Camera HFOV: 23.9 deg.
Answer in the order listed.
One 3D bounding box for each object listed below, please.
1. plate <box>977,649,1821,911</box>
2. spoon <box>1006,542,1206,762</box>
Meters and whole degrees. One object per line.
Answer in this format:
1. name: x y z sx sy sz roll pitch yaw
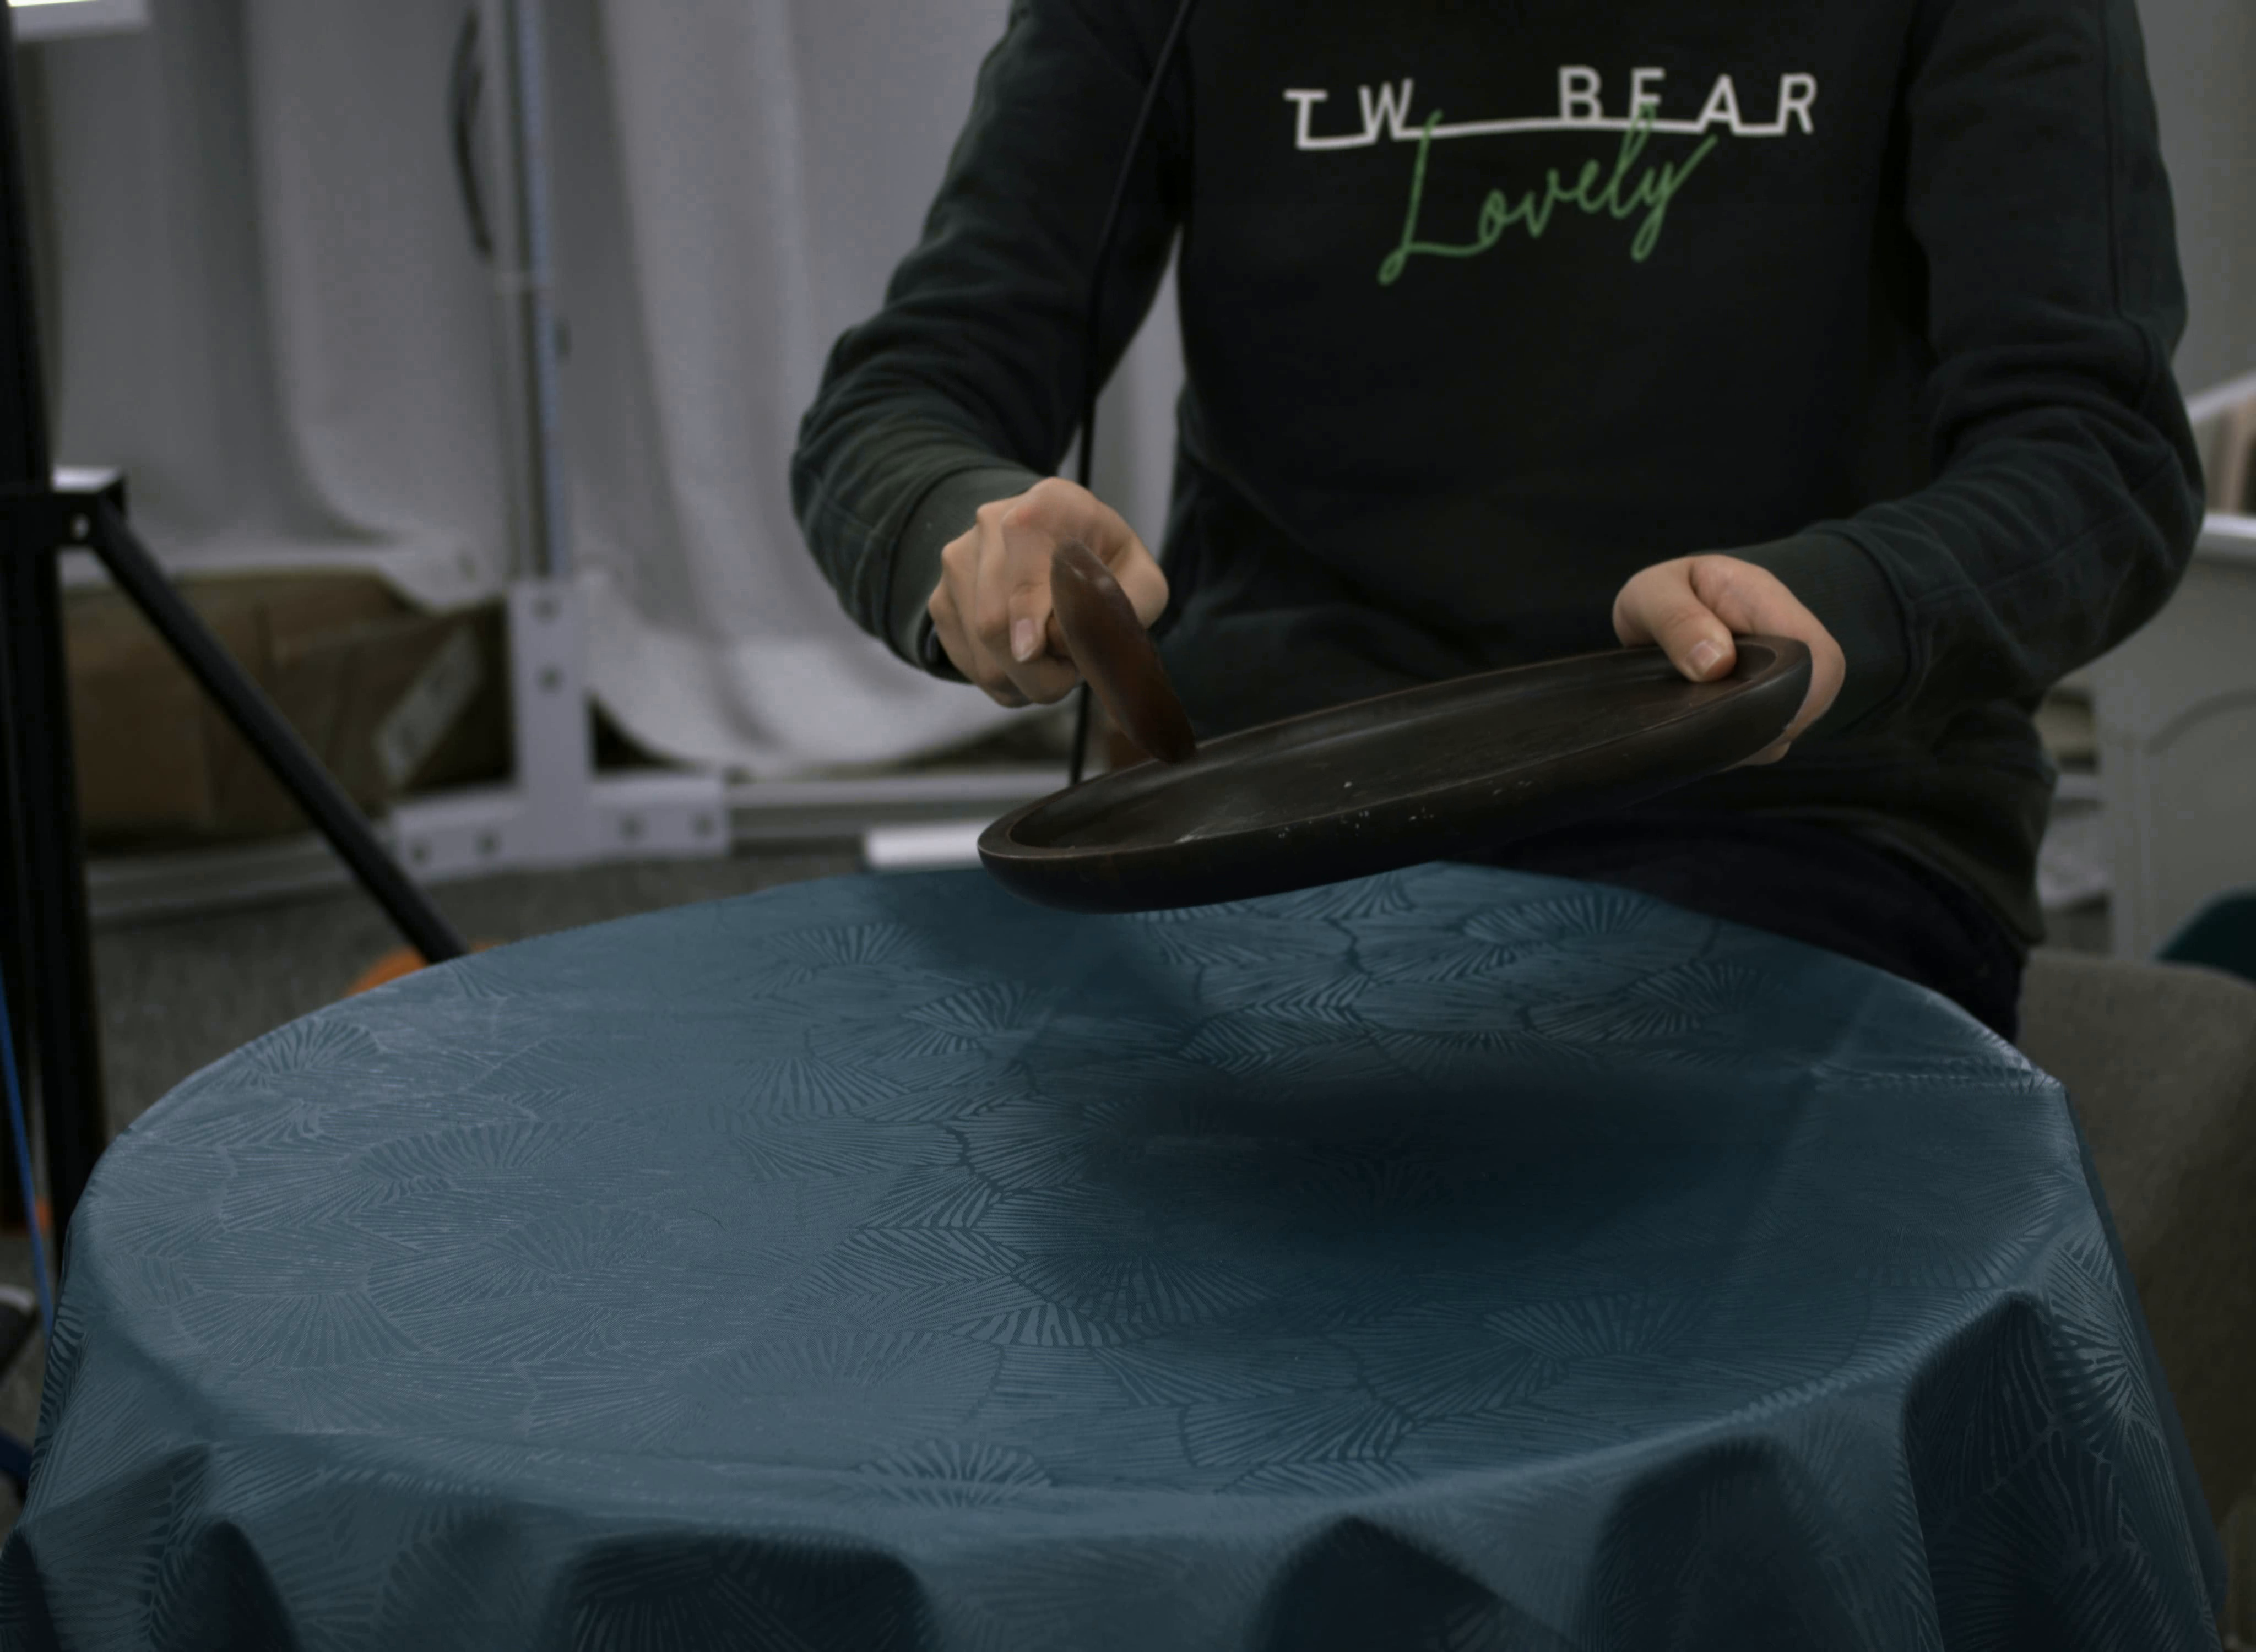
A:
1. plate: 0.080 -0.015 1.566 0.254 0.029 0.255 -13 9 0
2. spoon: -0.014 -0.056 1.628 0.017 0.075 0.218 -30 10 -6
